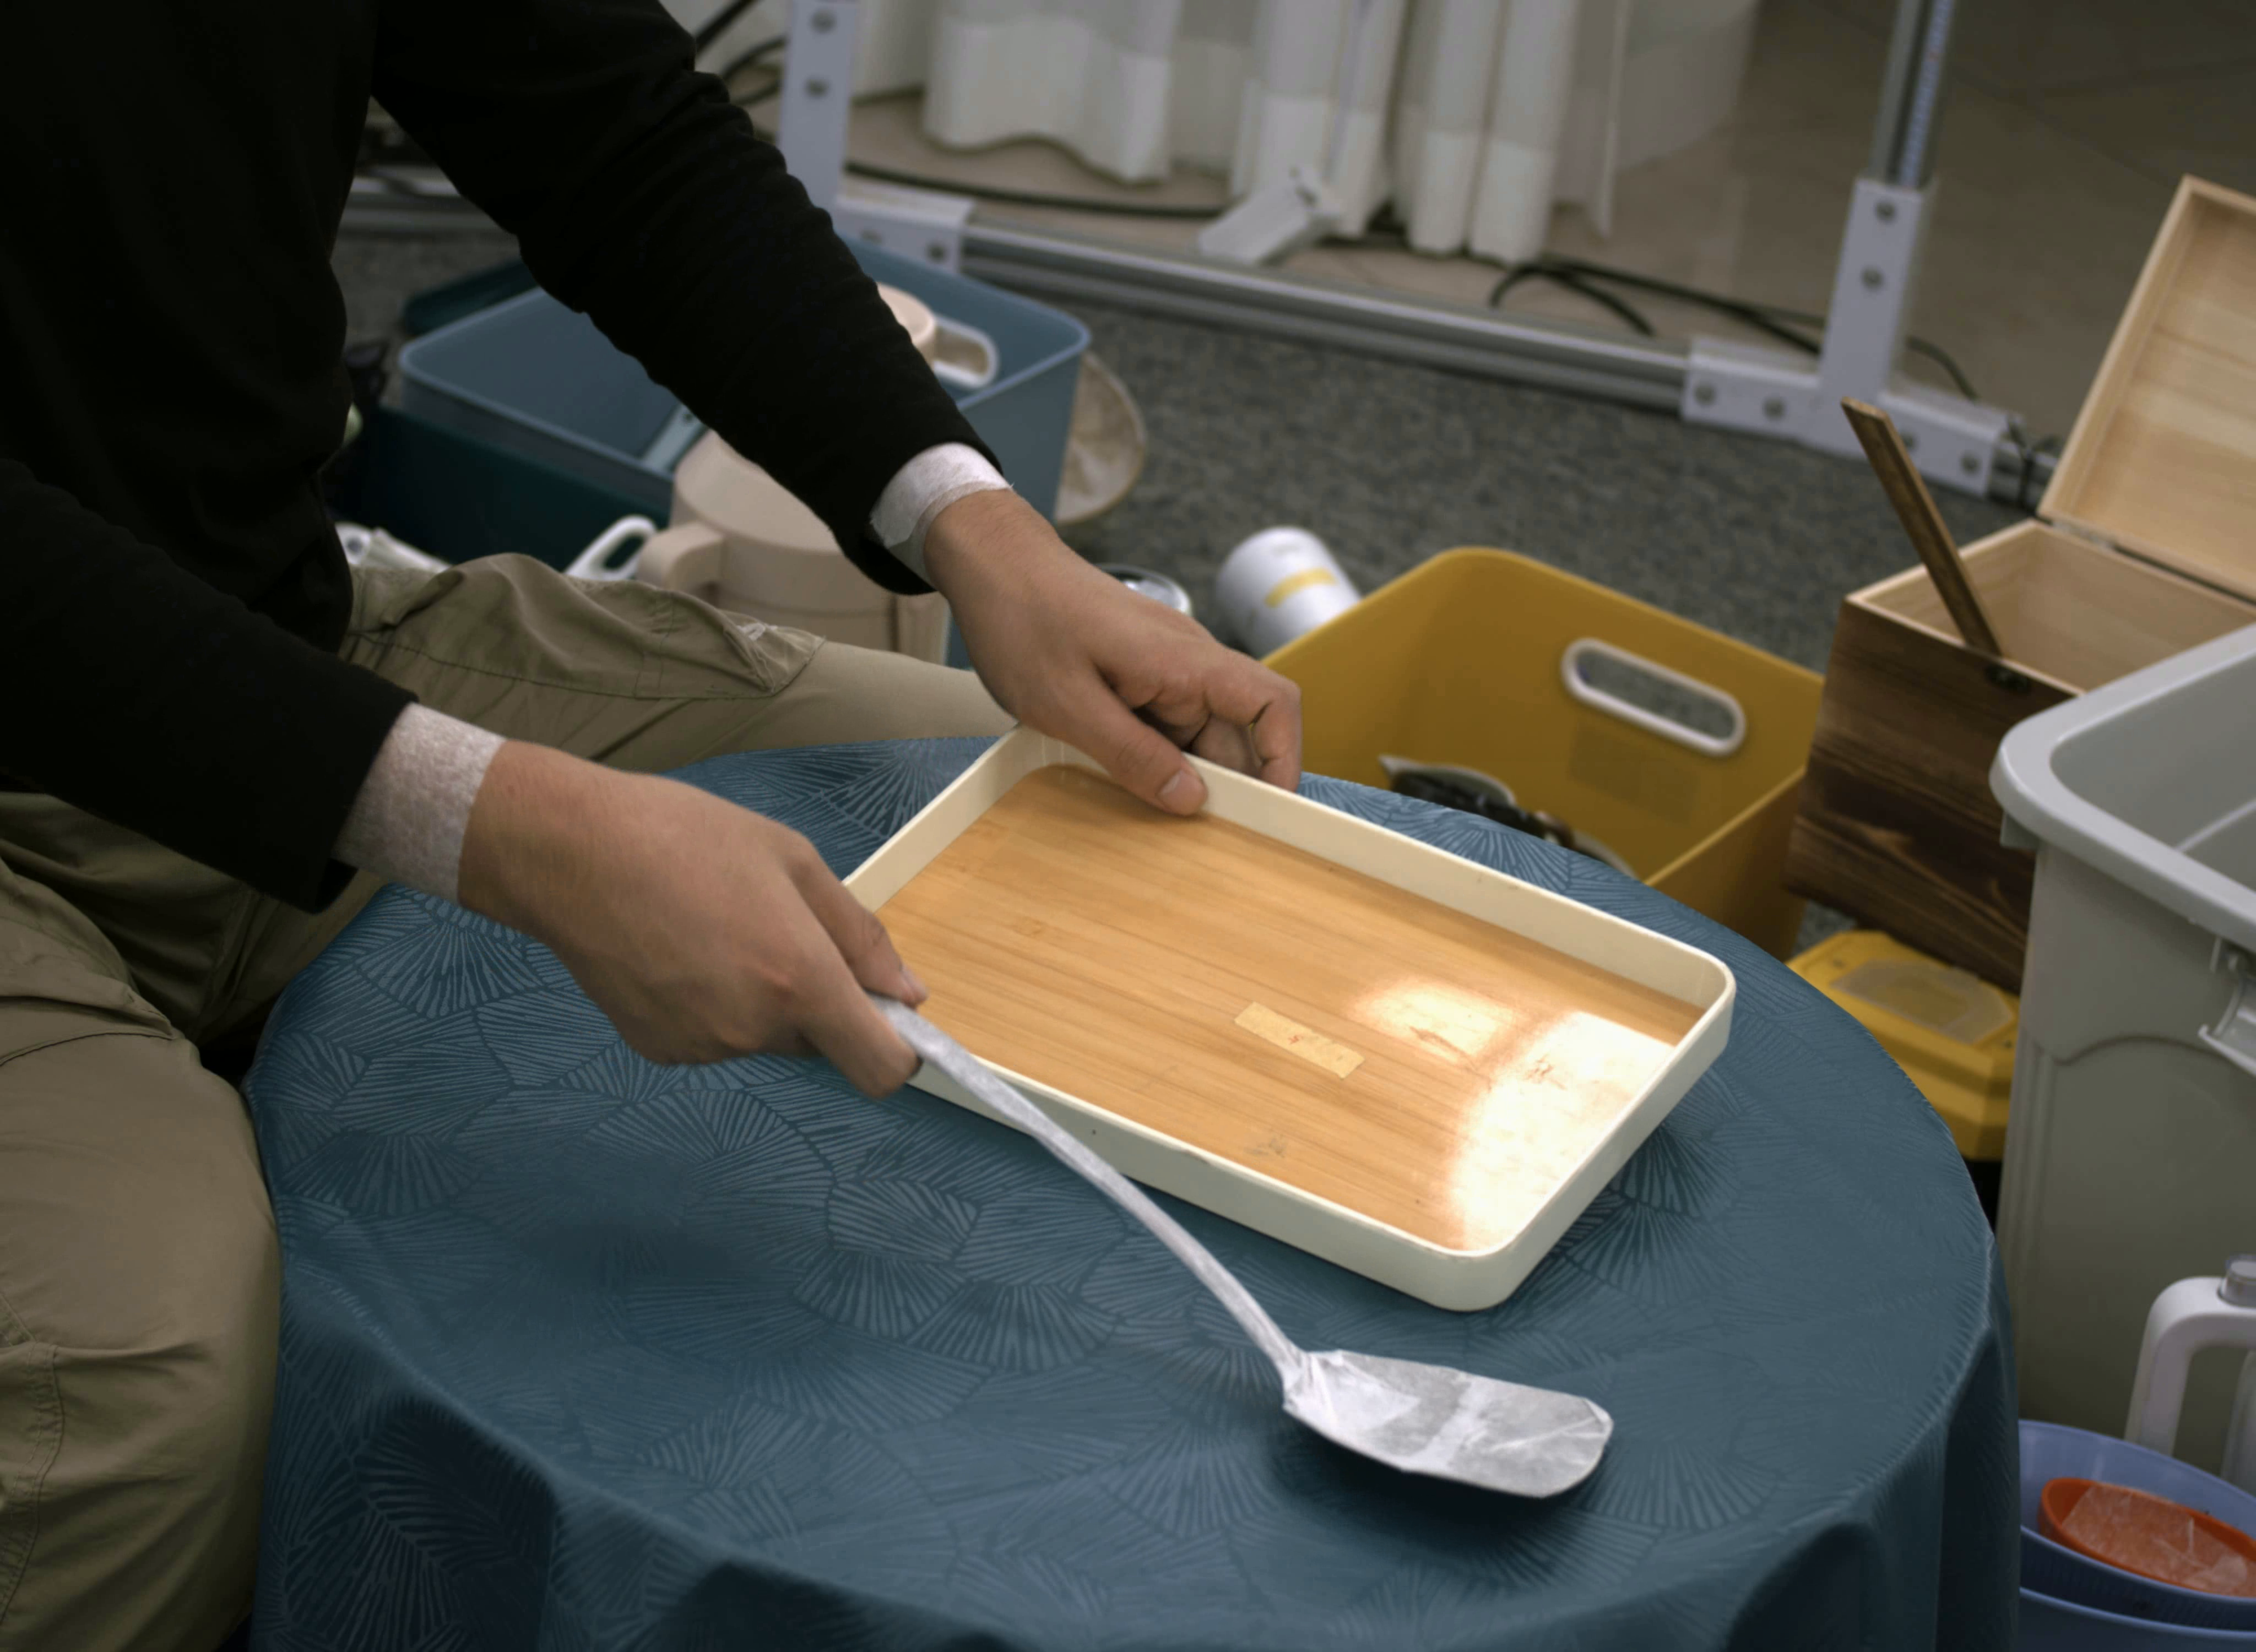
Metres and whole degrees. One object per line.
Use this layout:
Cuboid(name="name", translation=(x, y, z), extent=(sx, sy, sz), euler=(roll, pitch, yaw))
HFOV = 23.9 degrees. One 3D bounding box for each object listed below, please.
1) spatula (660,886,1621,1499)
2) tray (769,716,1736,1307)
Cuboid(name="spatula", translation=(-0.005, 0.111, 1.701), extent=(0.366, 0.045, 0.098), euler=(37, 23, 13))
Cuboid(name="tray", translation=(0.043, 0.060, 1.869), extent=(0.302, 0.027, 0.191), euler=(21, 41, 27))
